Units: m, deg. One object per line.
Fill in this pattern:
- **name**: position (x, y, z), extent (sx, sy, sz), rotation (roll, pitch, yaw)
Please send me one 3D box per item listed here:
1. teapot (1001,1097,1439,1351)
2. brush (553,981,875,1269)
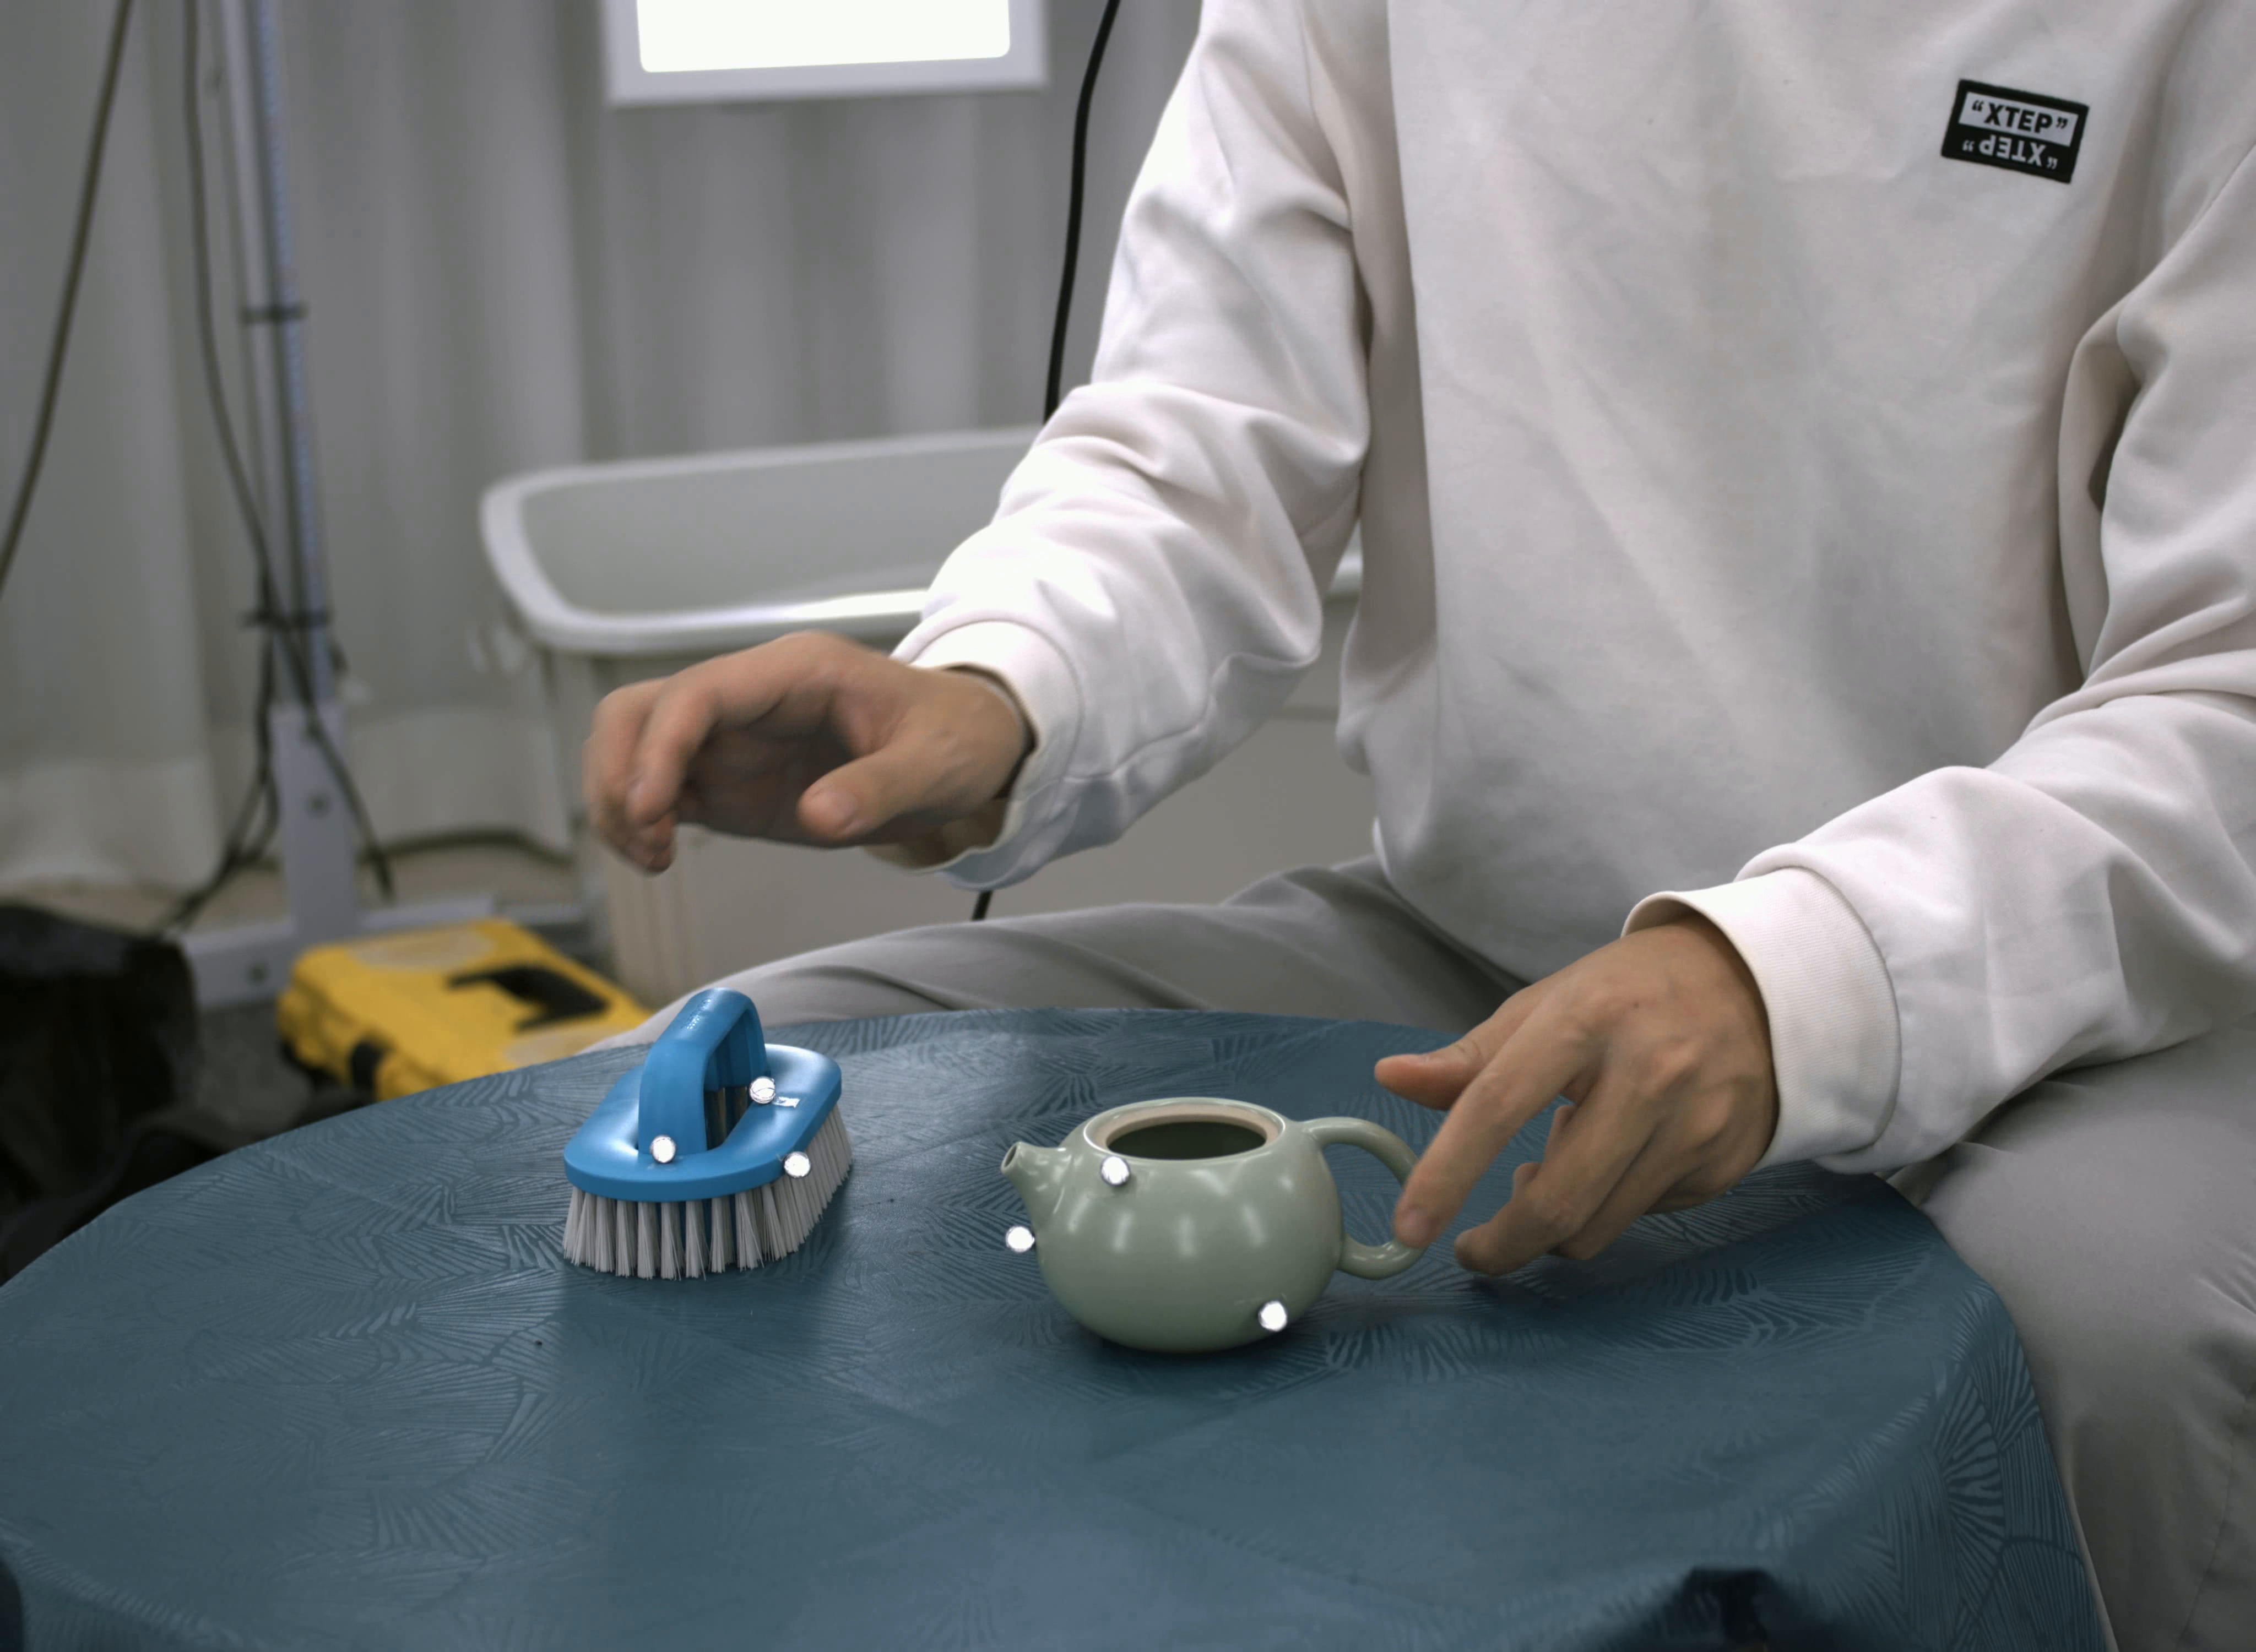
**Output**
- **teapot**: position (0.027, 0.116, 1.594), extent (0.128, 0.061, 0.092), rotation (-3, 12, -5)
- **brush**: position (-0.132, 0.088, 1.716), extent (0.084, 0.063, 0.142), rotation (-5, 13, 13)
